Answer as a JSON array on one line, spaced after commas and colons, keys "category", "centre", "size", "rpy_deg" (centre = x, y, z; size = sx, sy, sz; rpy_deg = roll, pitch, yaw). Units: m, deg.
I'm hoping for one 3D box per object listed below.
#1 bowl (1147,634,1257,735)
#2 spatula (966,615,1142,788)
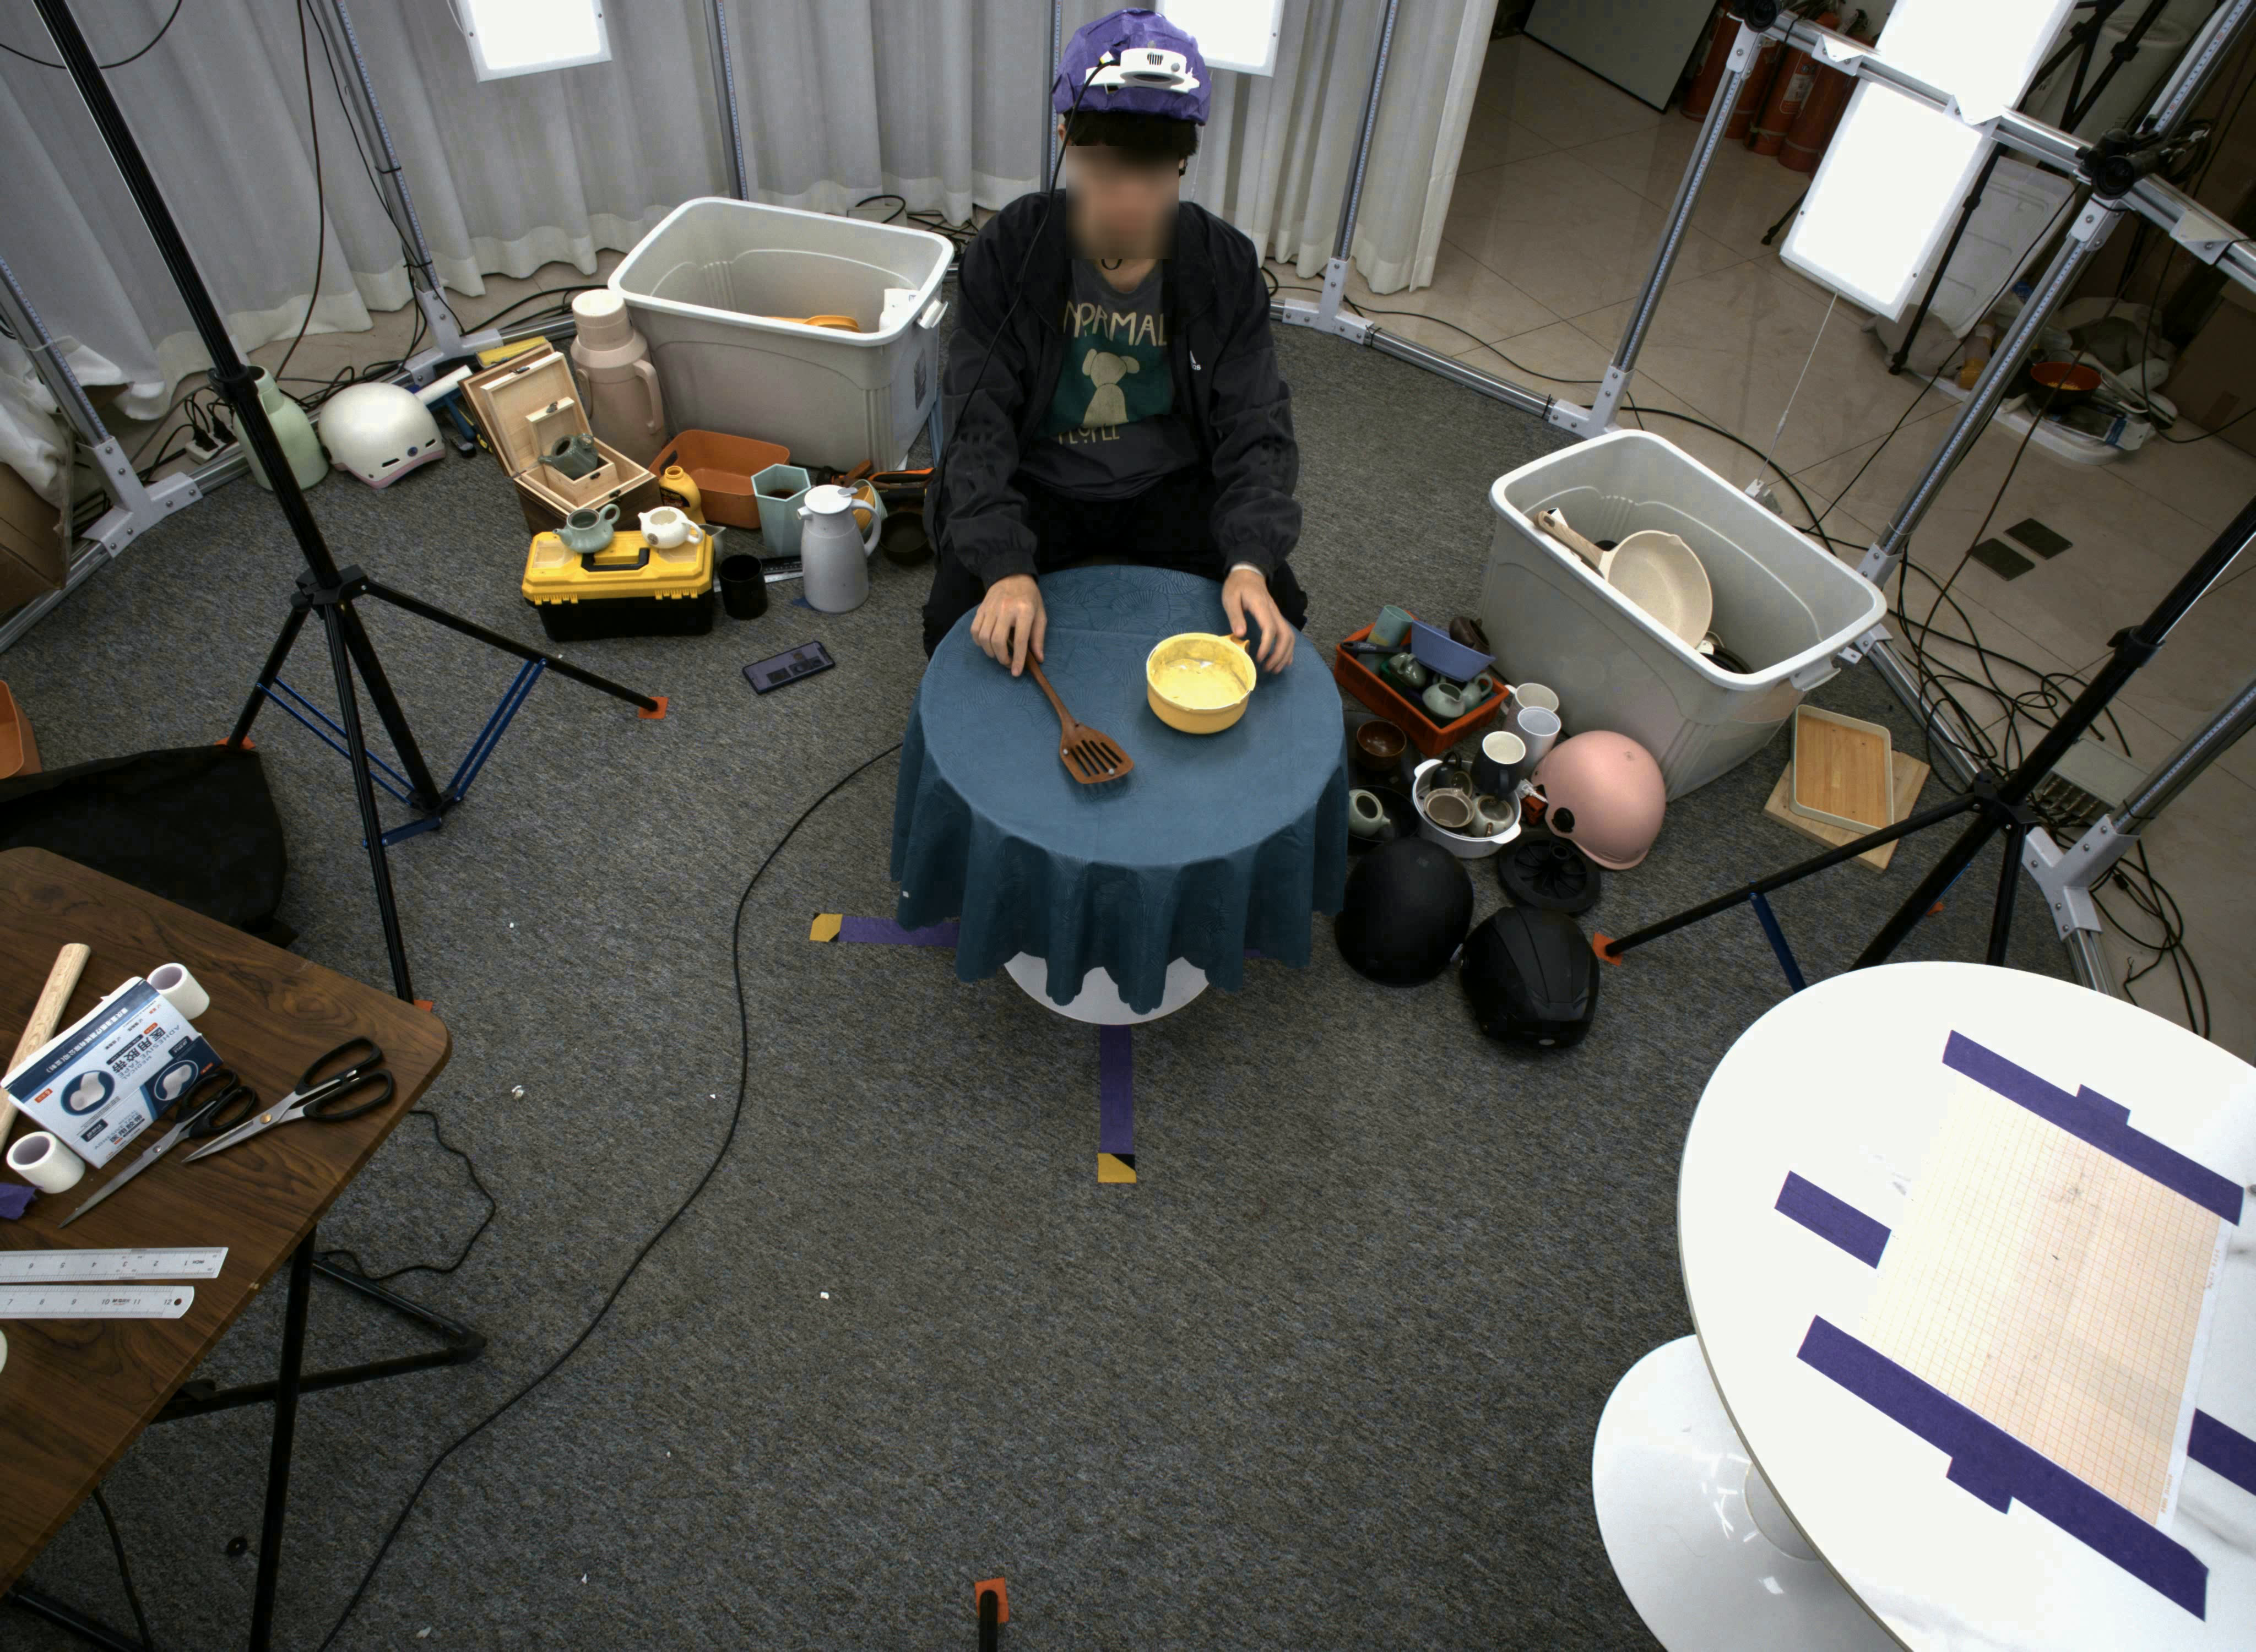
[{"category": "bowl", "centre": [0.109, -0.202, 1.808], "size": [0.154, 0.072, 0.182], "rpy_deg": [28, 53, 19]}, {"category": "spatula", "centre": [-0.121, -0.180, 1.810], "size": [0.086, 0.023, 0.394], "rpy_deg": [-21, 55, -32]}]
